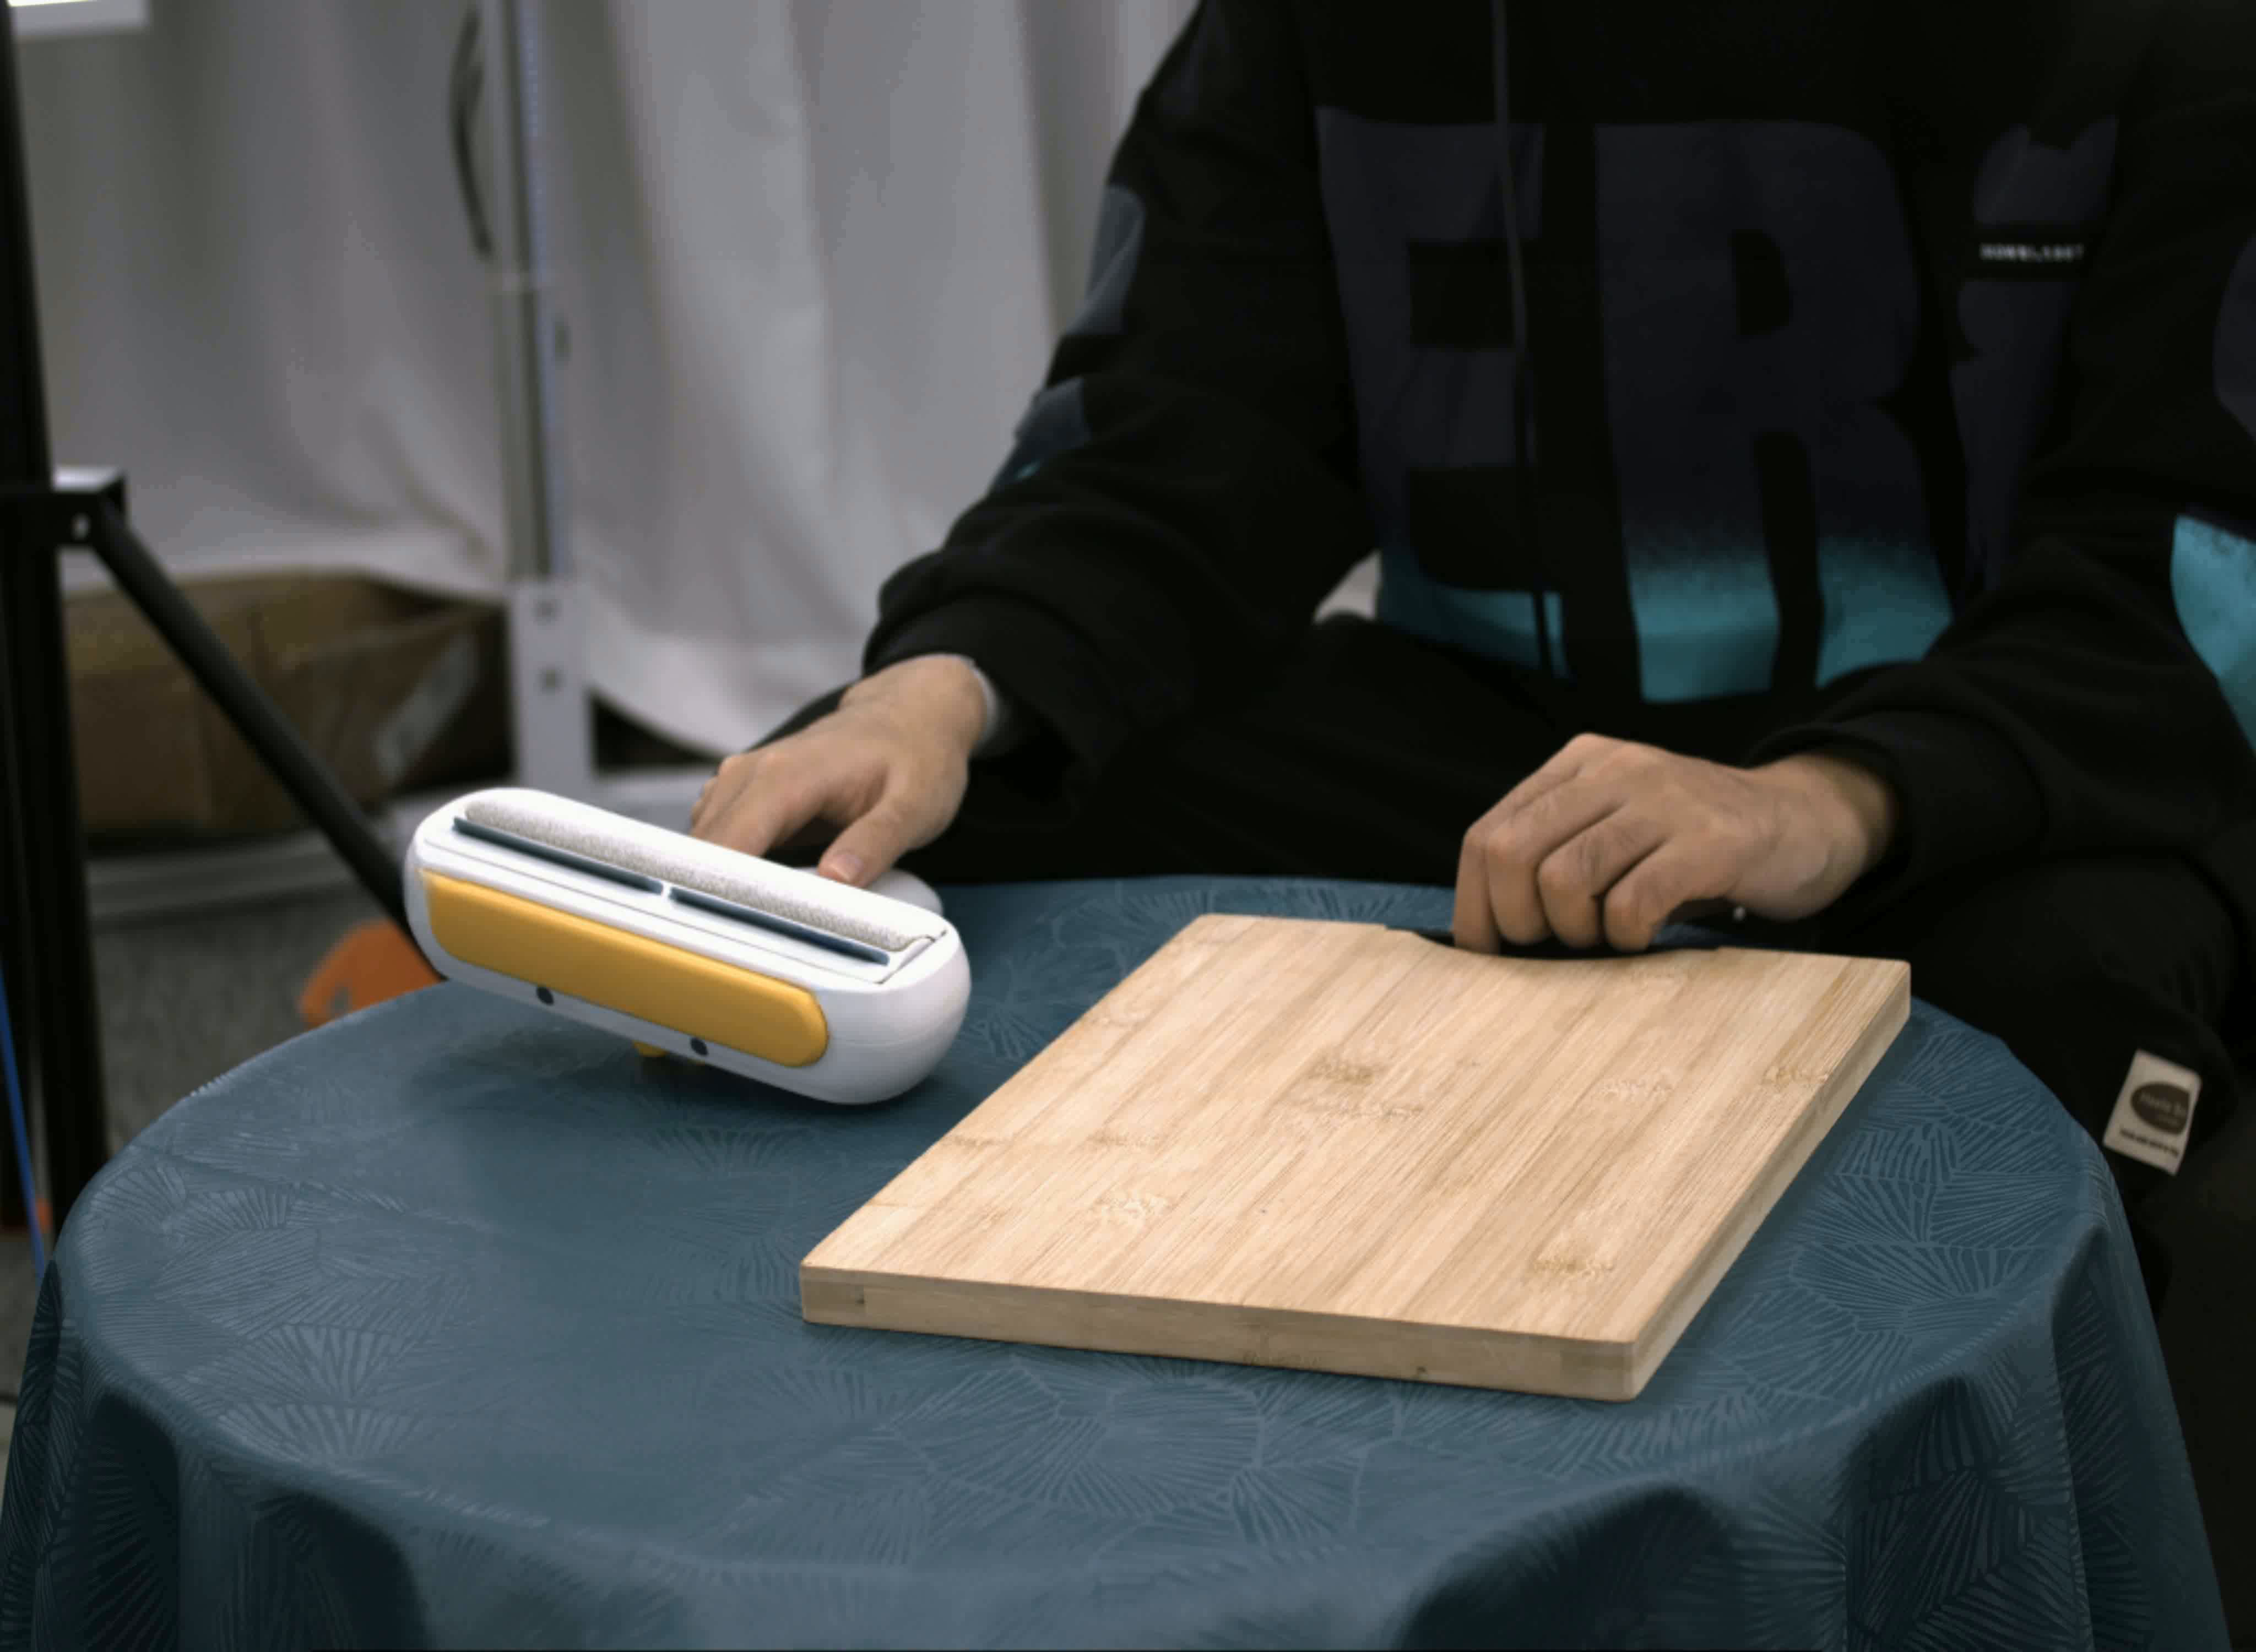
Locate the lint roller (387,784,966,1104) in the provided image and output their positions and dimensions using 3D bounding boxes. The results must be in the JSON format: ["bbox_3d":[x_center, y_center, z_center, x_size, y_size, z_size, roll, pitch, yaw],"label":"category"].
[{"bbox_3d":[-0.117,0.029,1.733,0.196,0.074,0.189,13,20,30],"label":"lint roller"}]

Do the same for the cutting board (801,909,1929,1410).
[{"bbox_3d":[0.081,0.091,1.577,0.254,0.023,0.344,3,17,20],"label":"cutting board"}]
